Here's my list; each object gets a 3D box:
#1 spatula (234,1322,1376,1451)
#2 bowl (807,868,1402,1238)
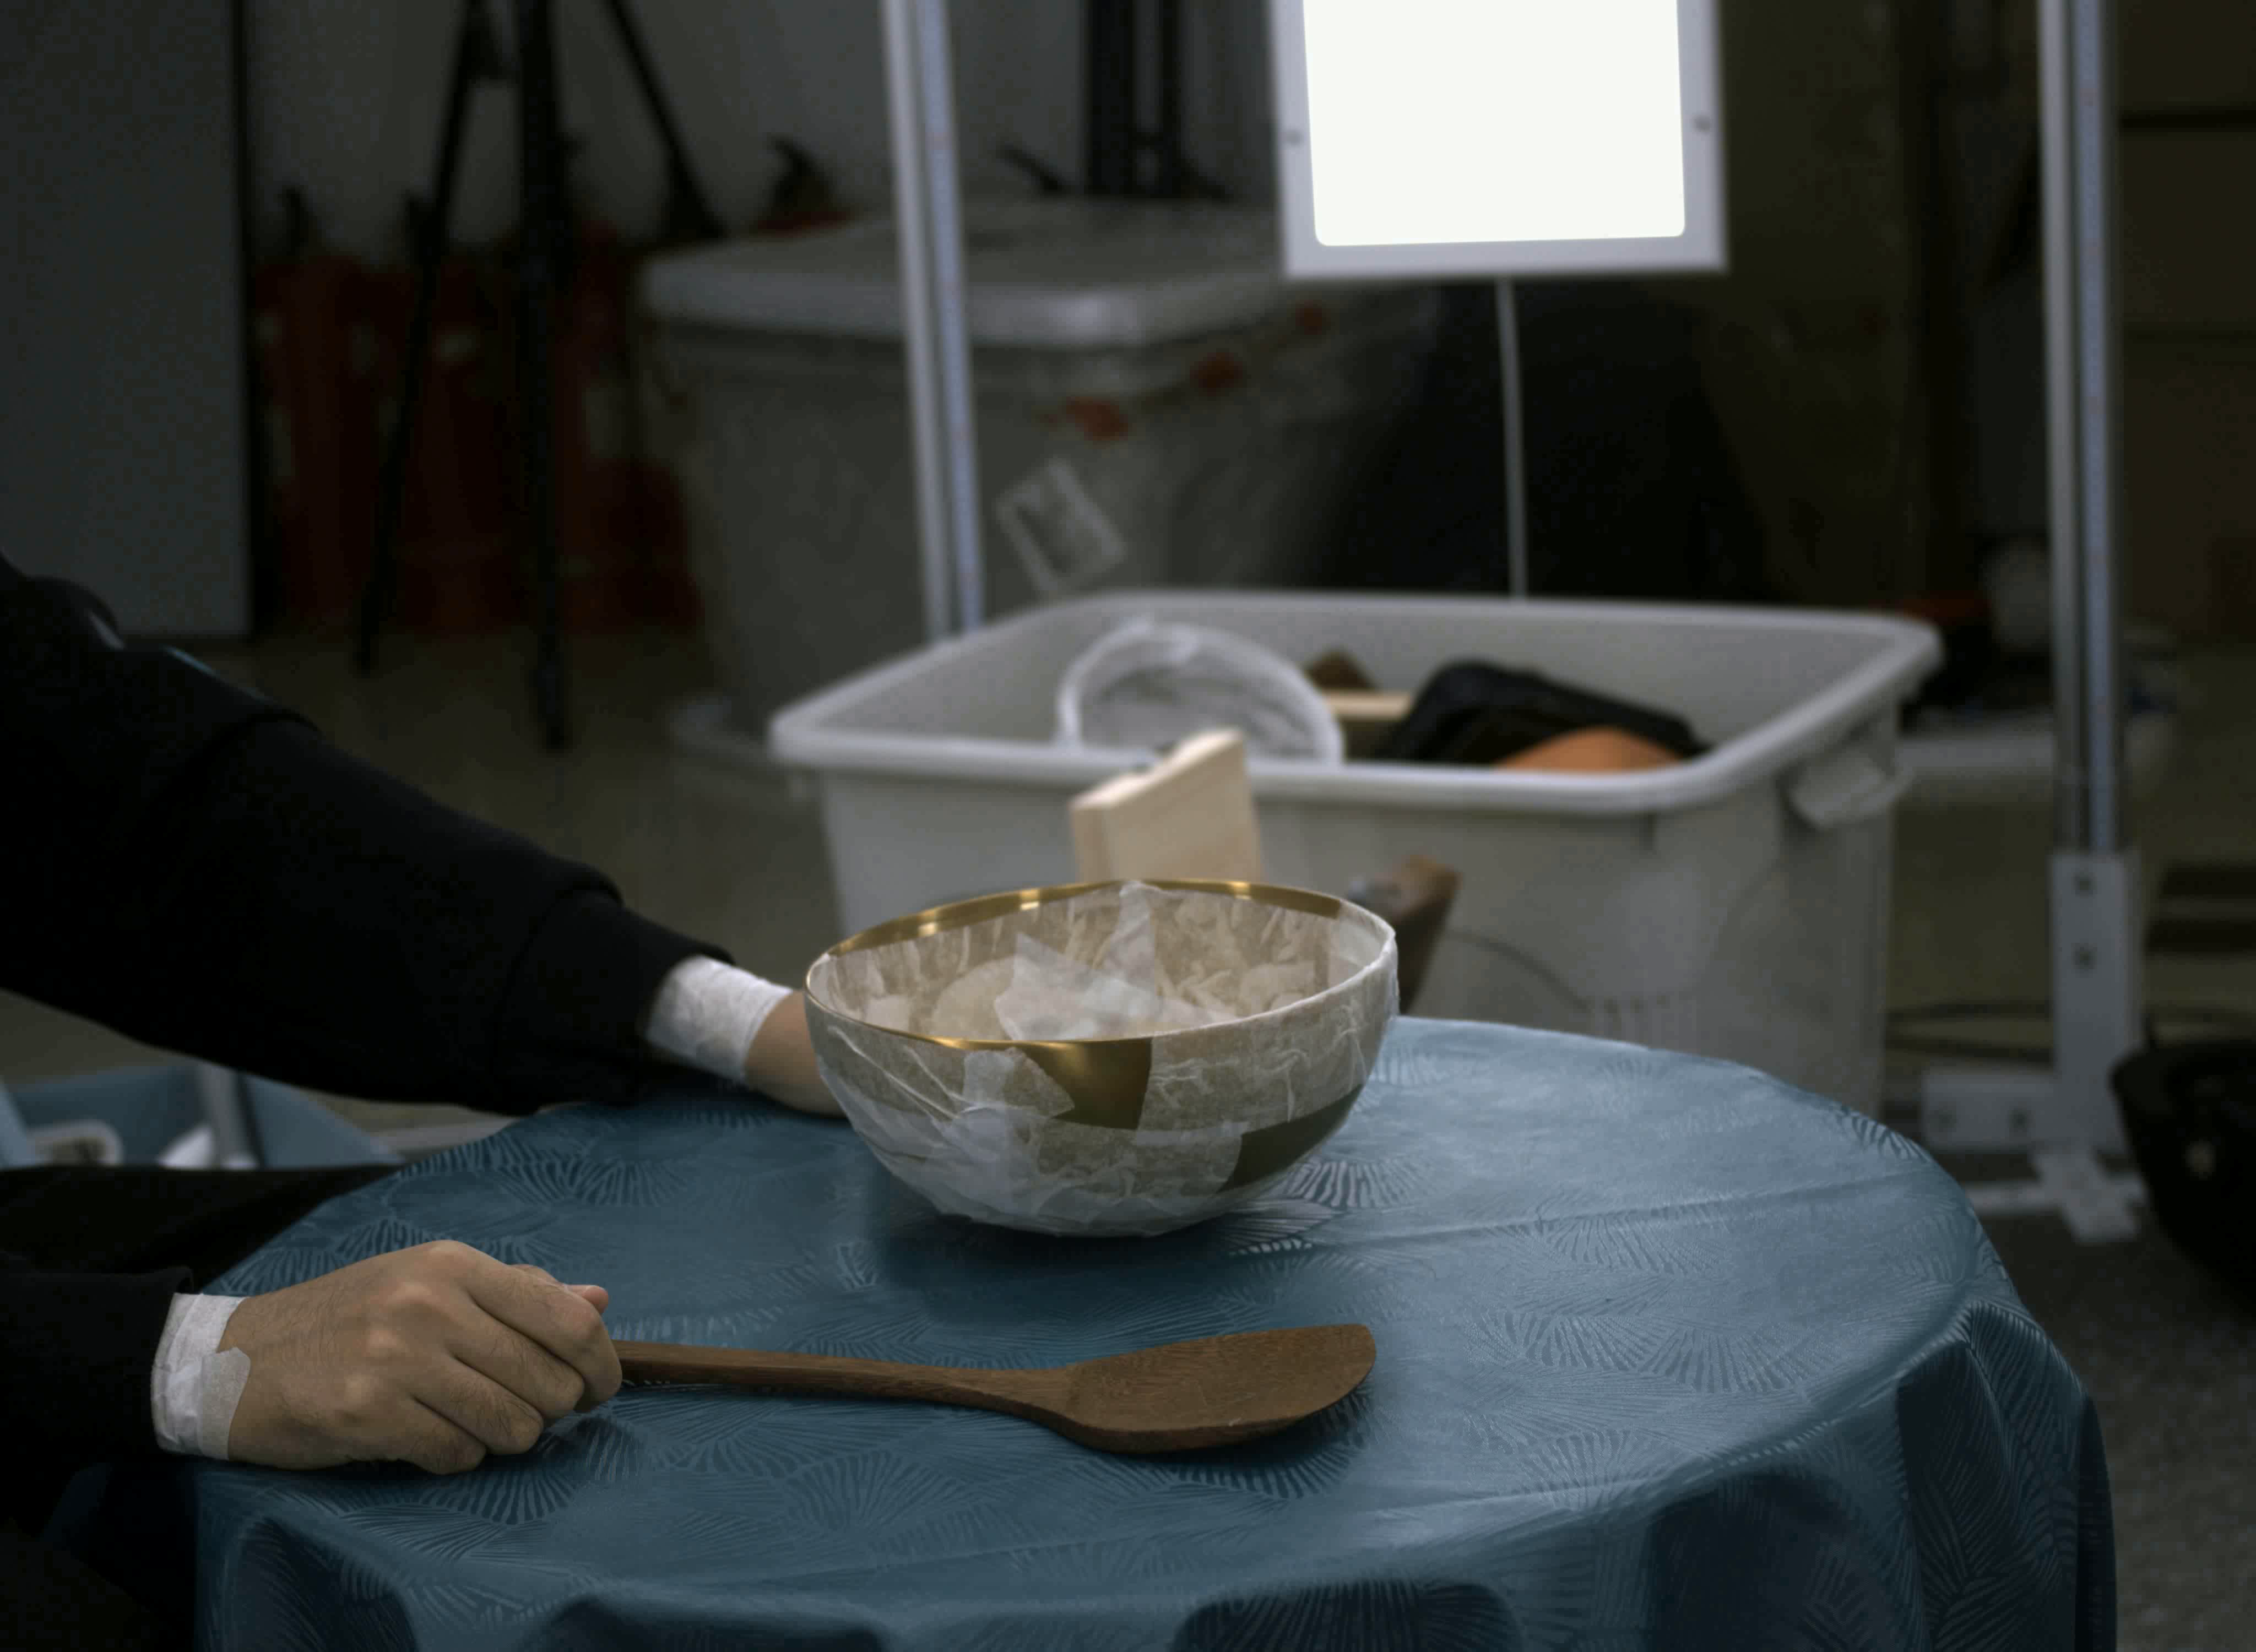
[{"bbox_3d":[-0.110,0.170,1.729,0.391,0.016,0.094,0,14,22],"label":"spatula"},{"bbox_3d":[-0.007,0.084,1.873,0.214,0.095,0.214,-6,15,0],"label":"bowl"}]
